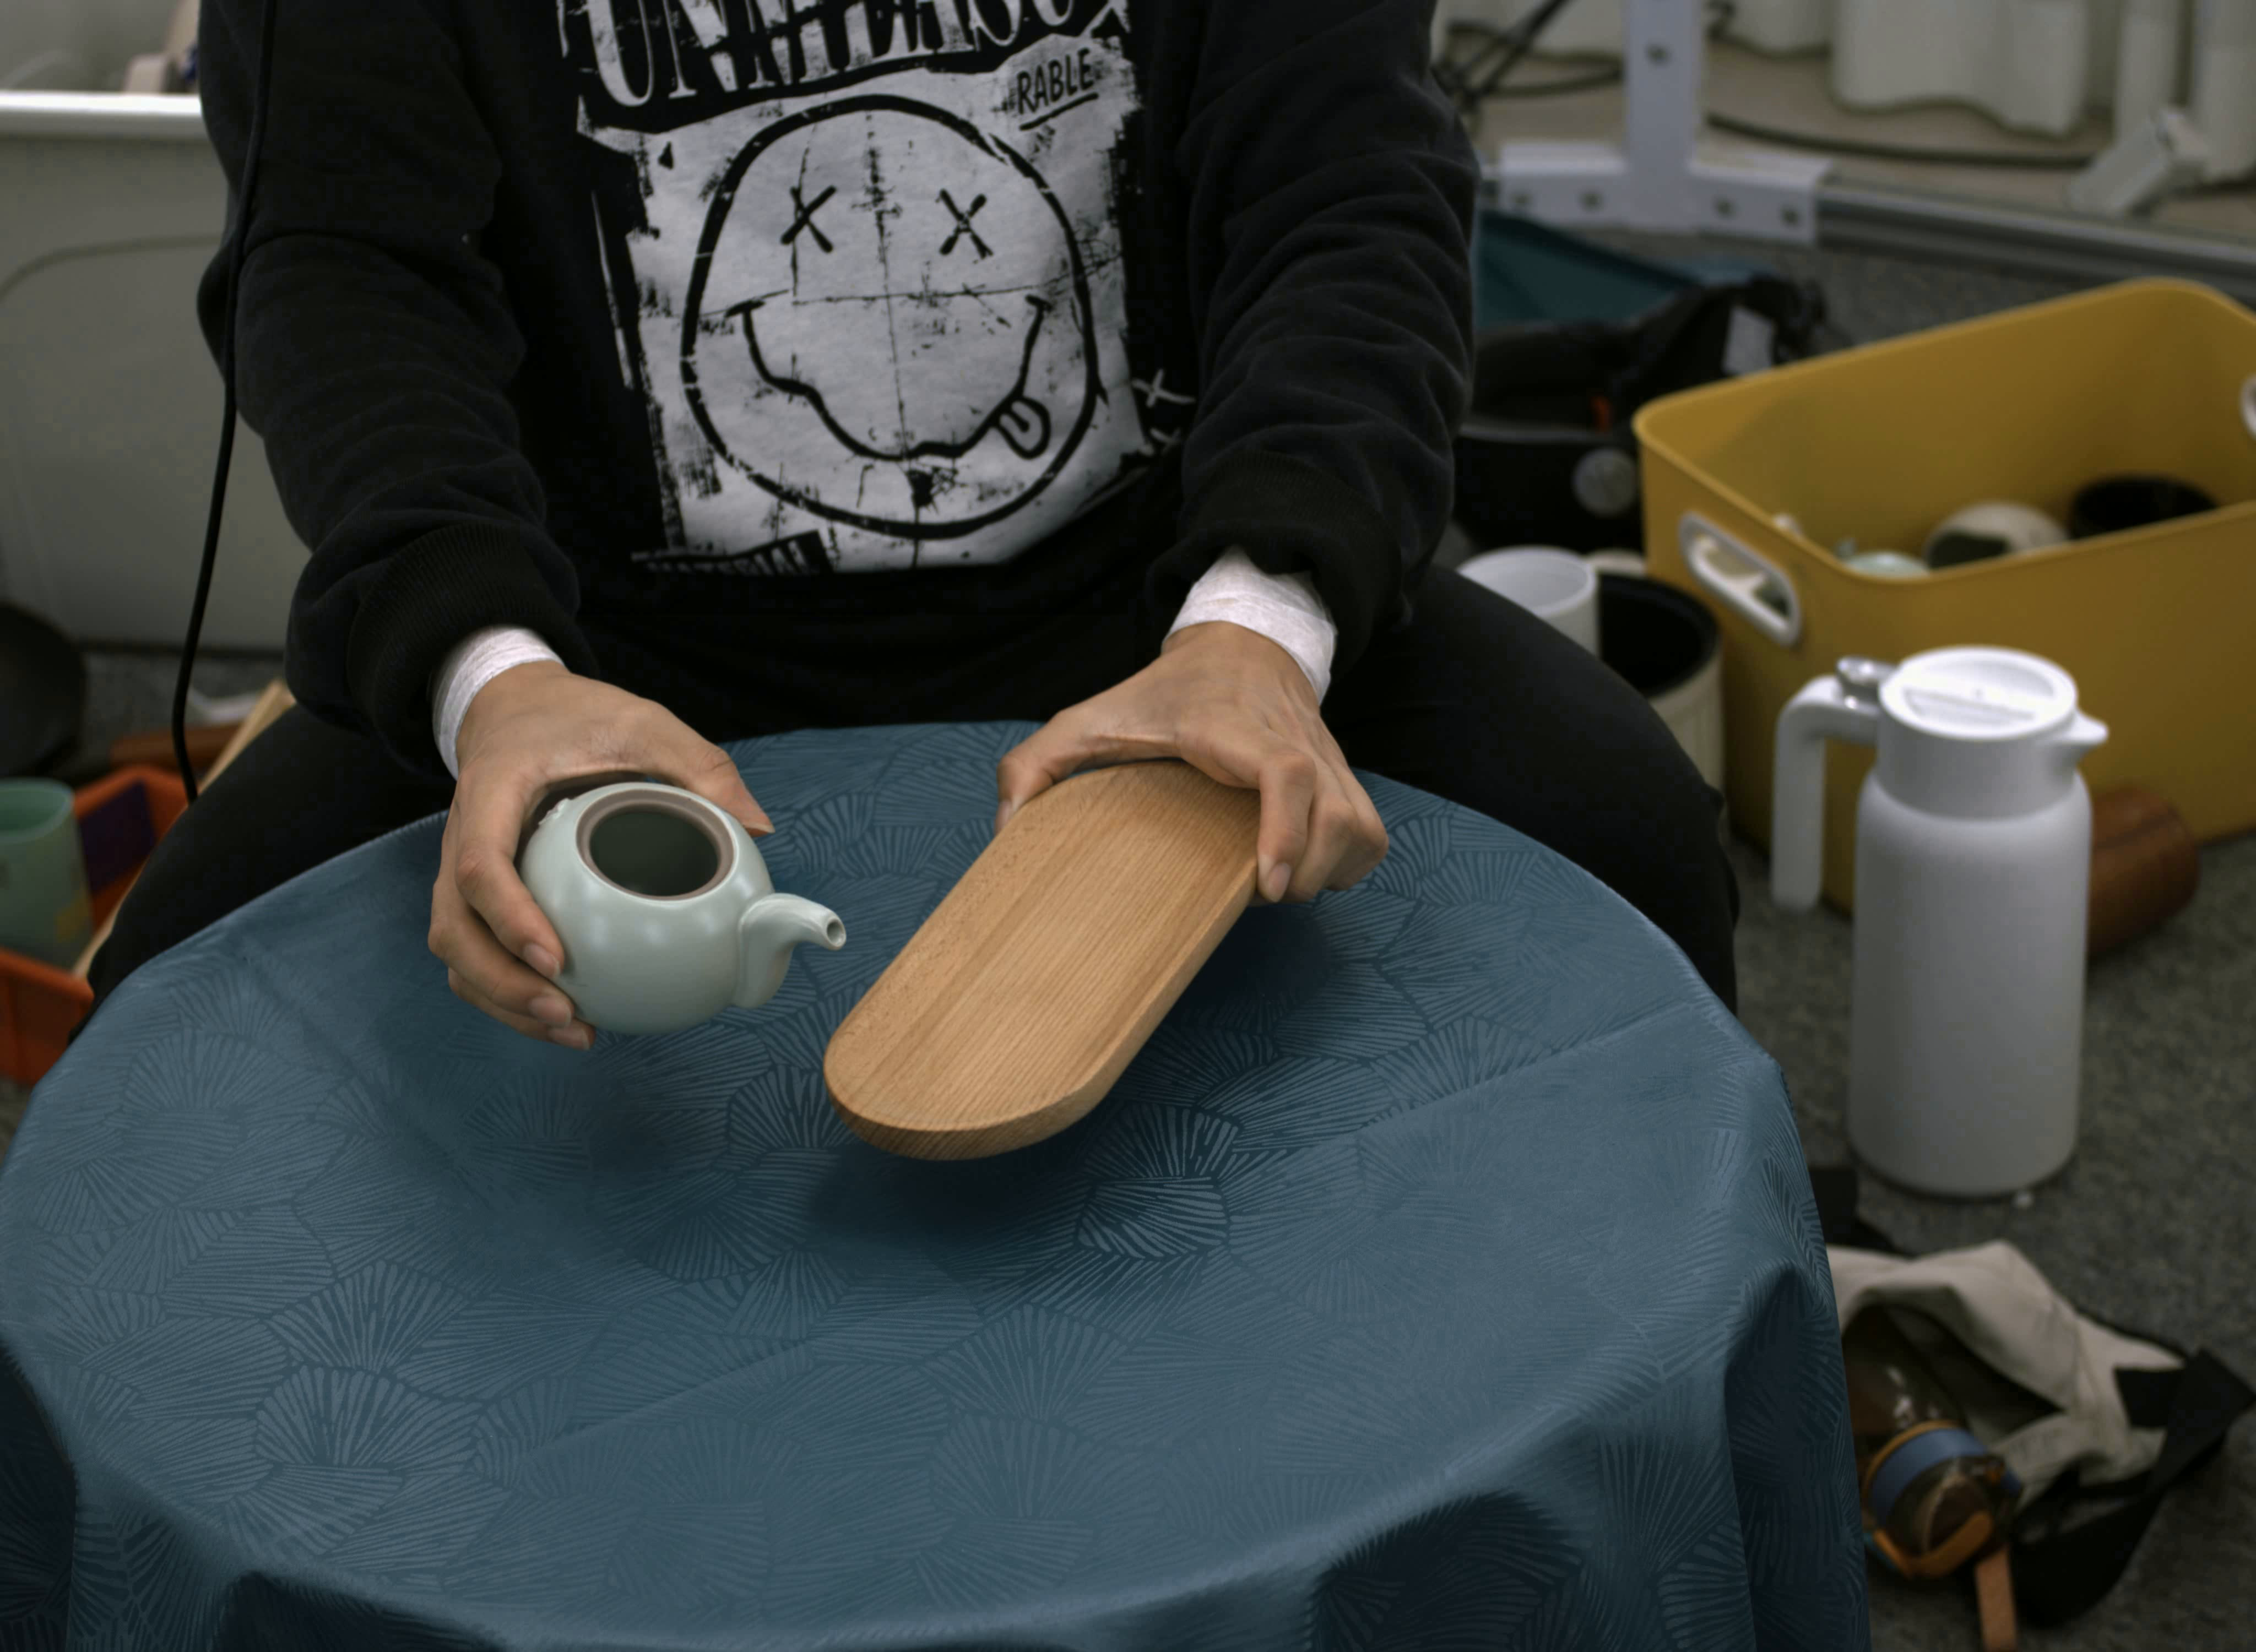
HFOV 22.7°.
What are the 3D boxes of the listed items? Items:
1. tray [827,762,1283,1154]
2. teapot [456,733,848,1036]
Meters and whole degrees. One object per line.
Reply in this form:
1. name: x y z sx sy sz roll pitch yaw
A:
1. tray: -0.022 0.042 1.906 0.101 0.020 0.235 8 32 23
2. teapot: -0.162 0.027 1.866 0.143 0.073 0.090 29 40 12
